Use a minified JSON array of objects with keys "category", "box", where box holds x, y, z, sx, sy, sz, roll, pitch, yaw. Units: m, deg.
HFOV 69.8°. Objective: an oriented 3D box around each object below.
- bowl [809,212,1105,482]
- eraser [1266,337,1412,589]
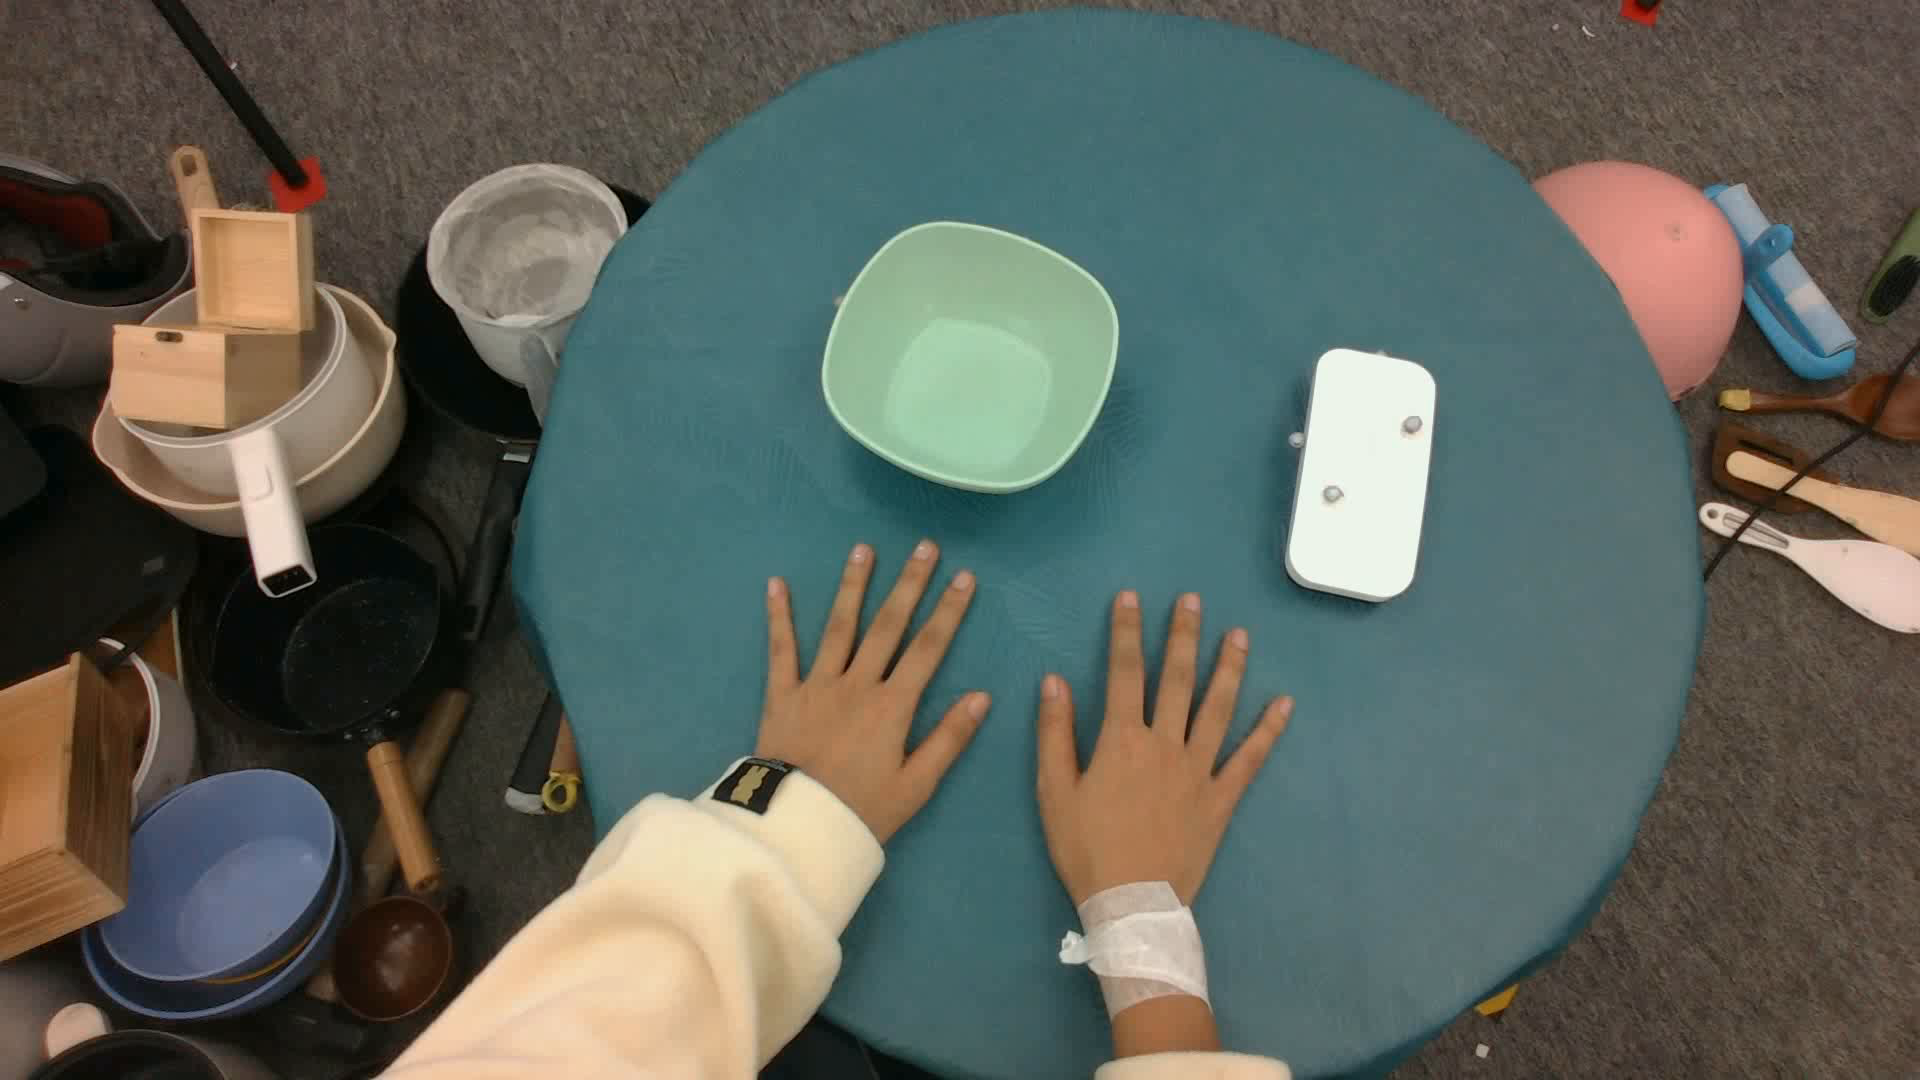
[{"category":"bowl","box":[-0.001,-0.090,0.700,0.151,0.058,0.152,0,72,0]},{"category":"eraser","box":[0.191,-0.041,0.701,0.063,0.034,0.132,12,69,2]}]
